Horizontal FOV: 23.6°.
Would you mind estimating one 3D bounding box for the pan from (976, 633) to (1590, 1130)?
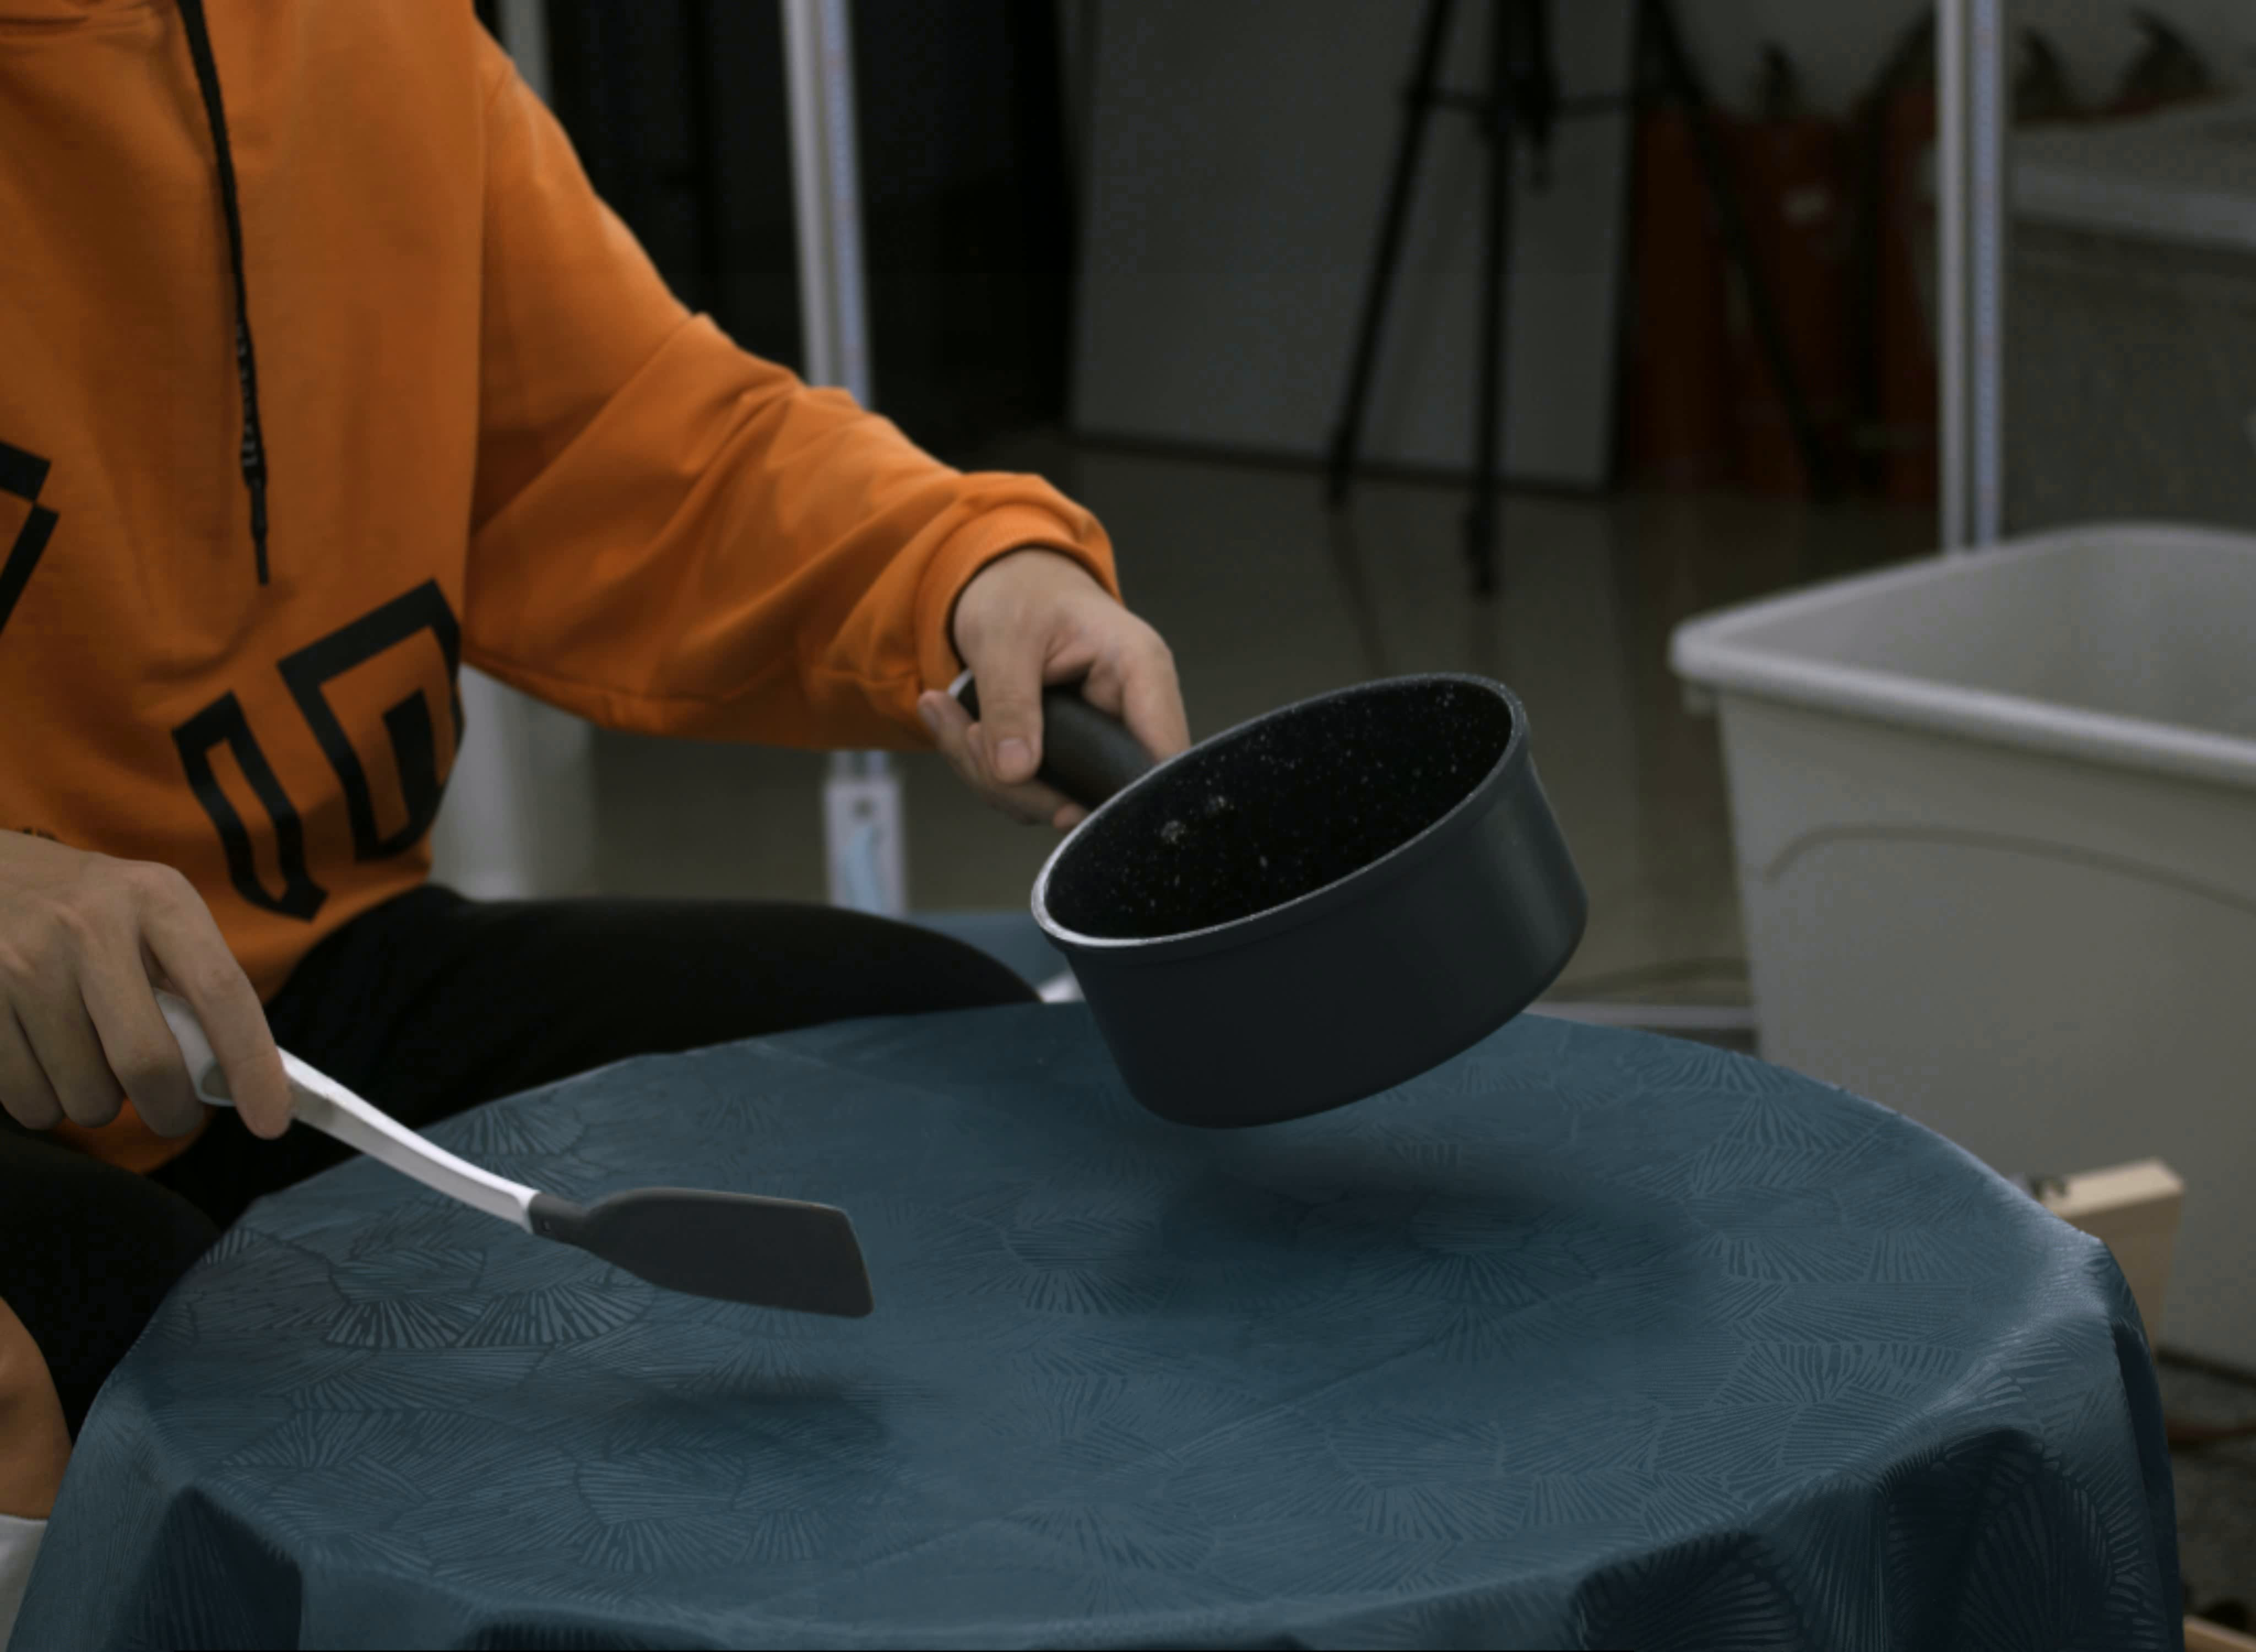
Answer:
[{"bbox_3d":[0.030,0.006,1.799,0.170,0.087,0.332,-29,21,-14],"label":"pan"}]

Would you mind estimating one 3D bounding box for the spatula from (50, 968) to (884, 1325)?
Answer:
[{"bbox_3d":[-0.202,0.099,1.639,0.288,0.059,0.032,17,45,24],"label":"spatula"}]
